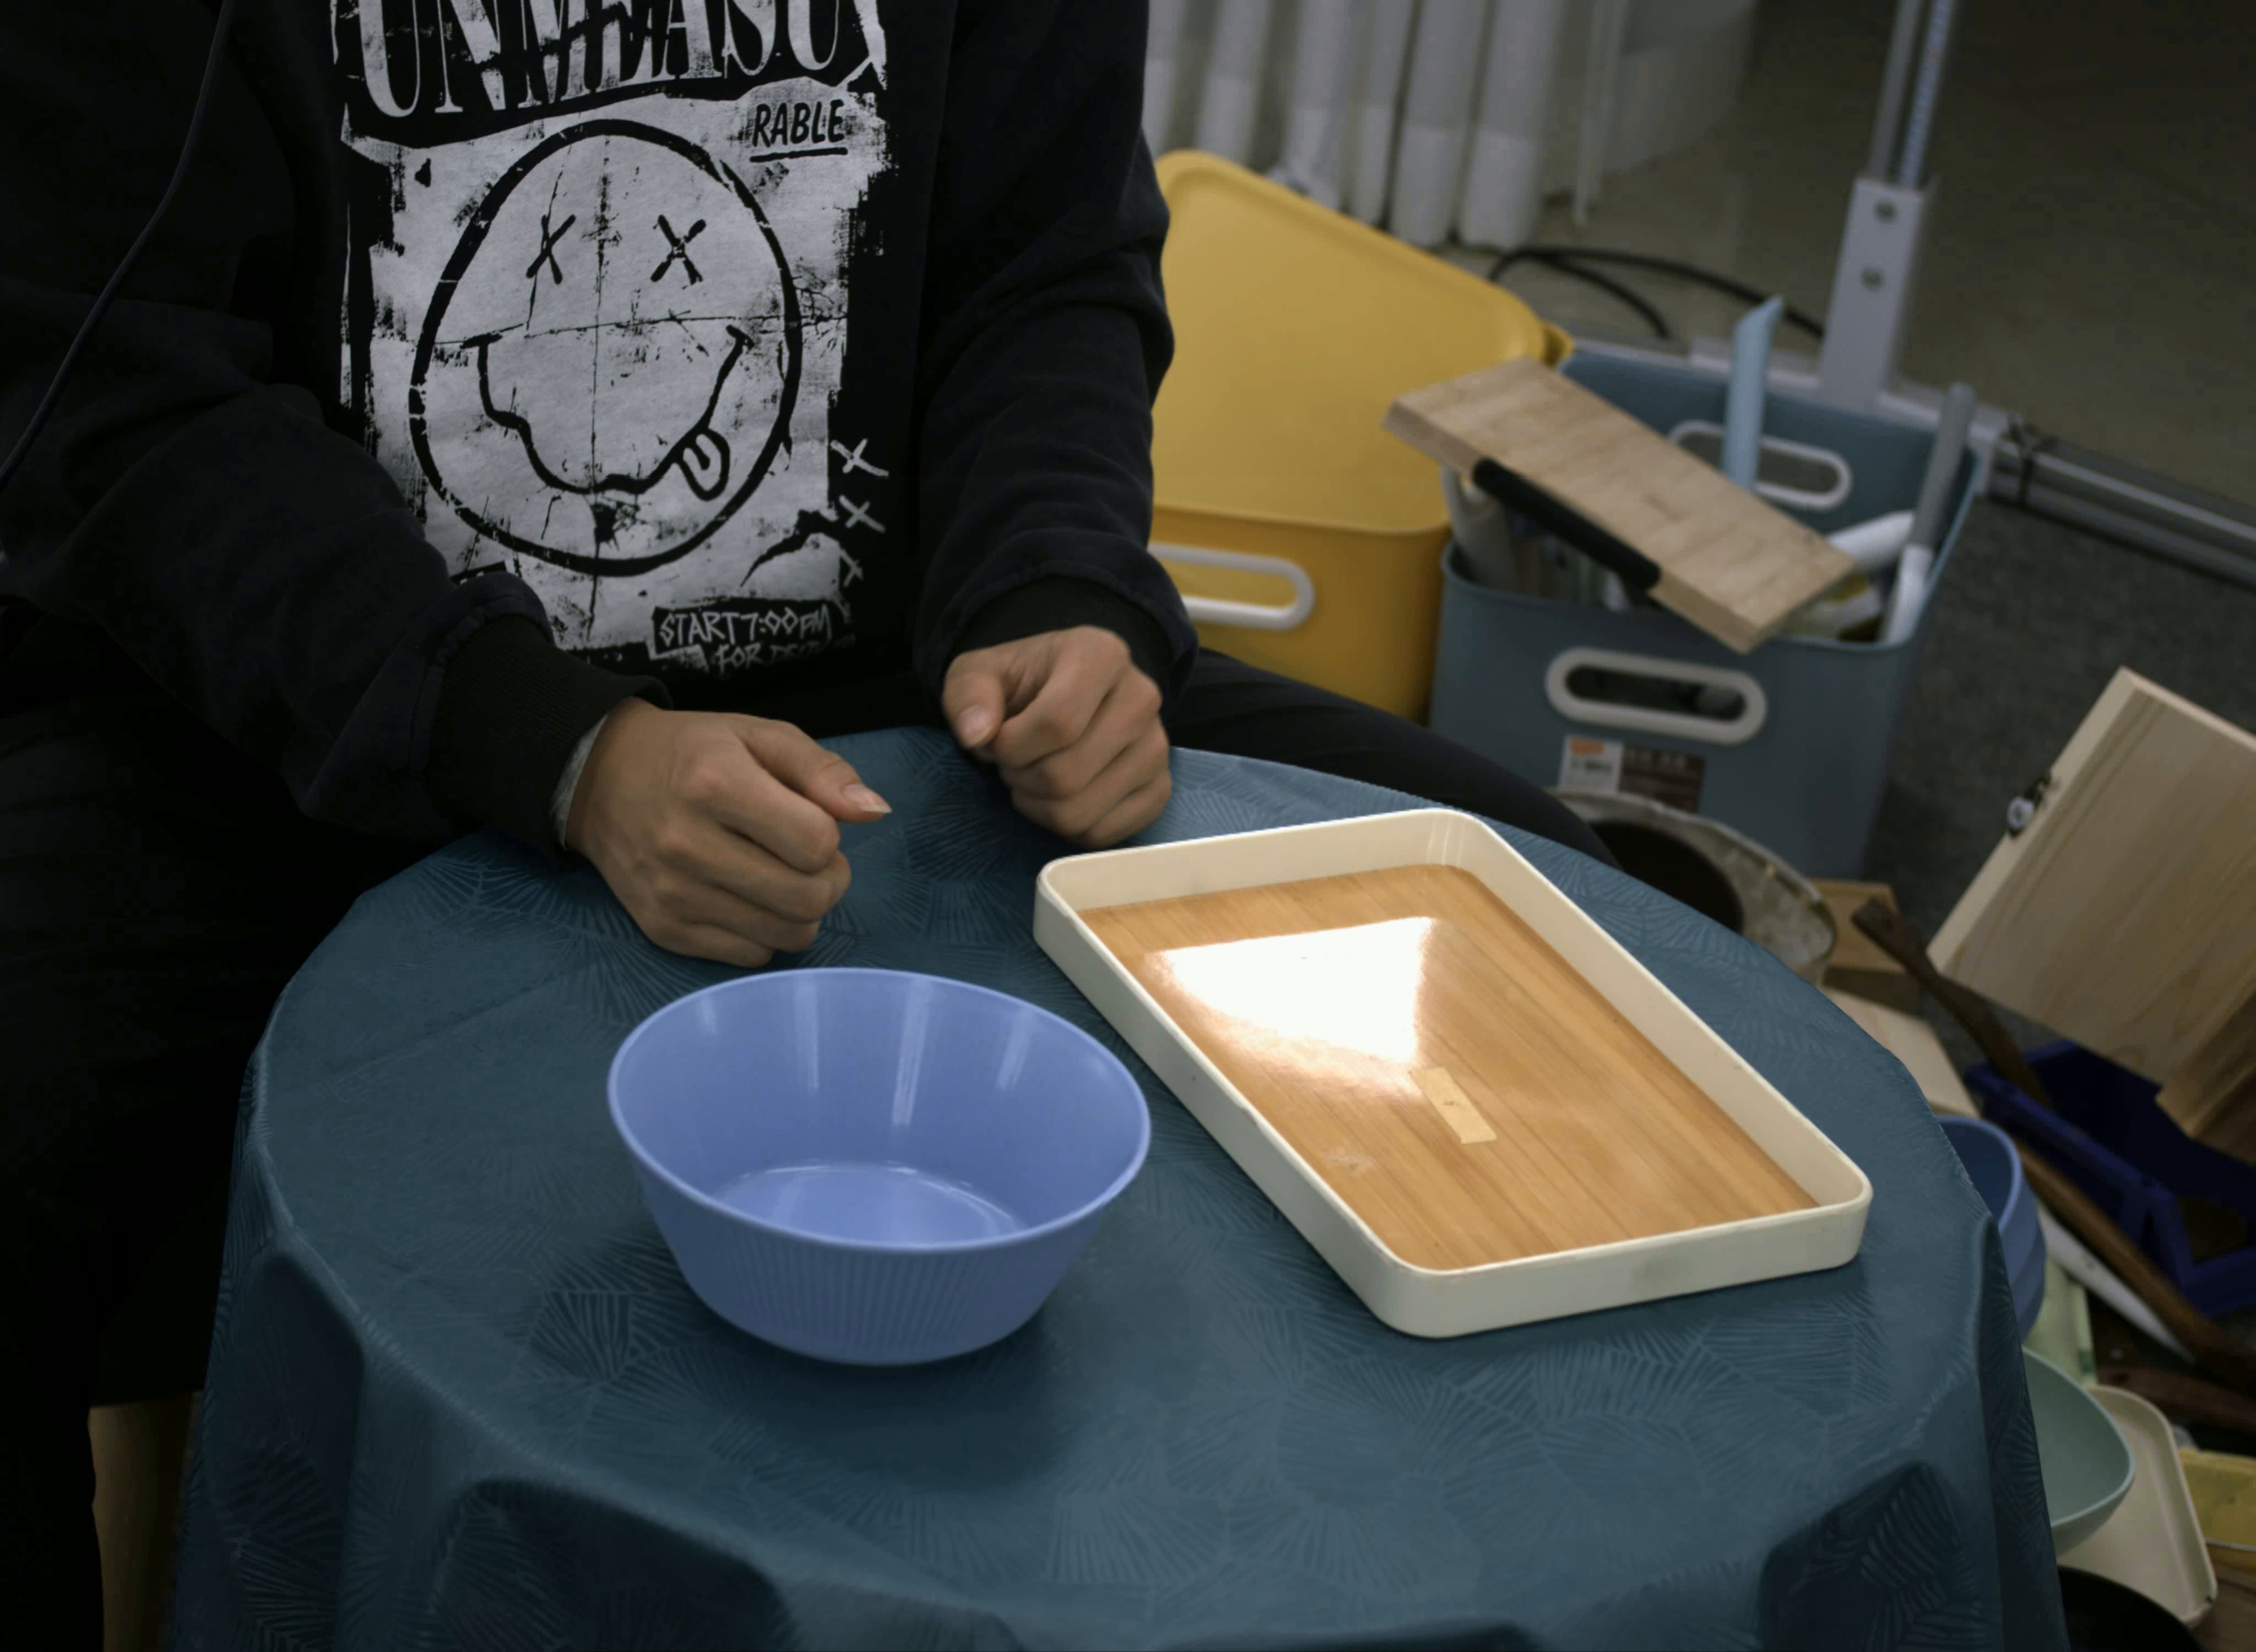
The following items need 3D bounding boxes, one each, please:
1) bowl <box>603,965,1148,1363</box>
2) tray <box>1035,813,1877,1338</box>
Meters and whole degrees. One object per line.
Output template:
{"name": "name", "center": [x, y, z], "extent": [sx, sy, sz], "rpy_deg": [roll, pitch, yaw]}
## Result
{"name": "bowl", "center": [-0.084, 0.115, 1.718], "extent": [0.175, 0.070, 0.177], "rpy_deg": [6, 27, -3]}
{"name": "tray", "center": [0.110, 0.082, 1.879], "extent": [0.190, 0.027, 0.303], "rpy_deg": [-7, 30, -26]}
